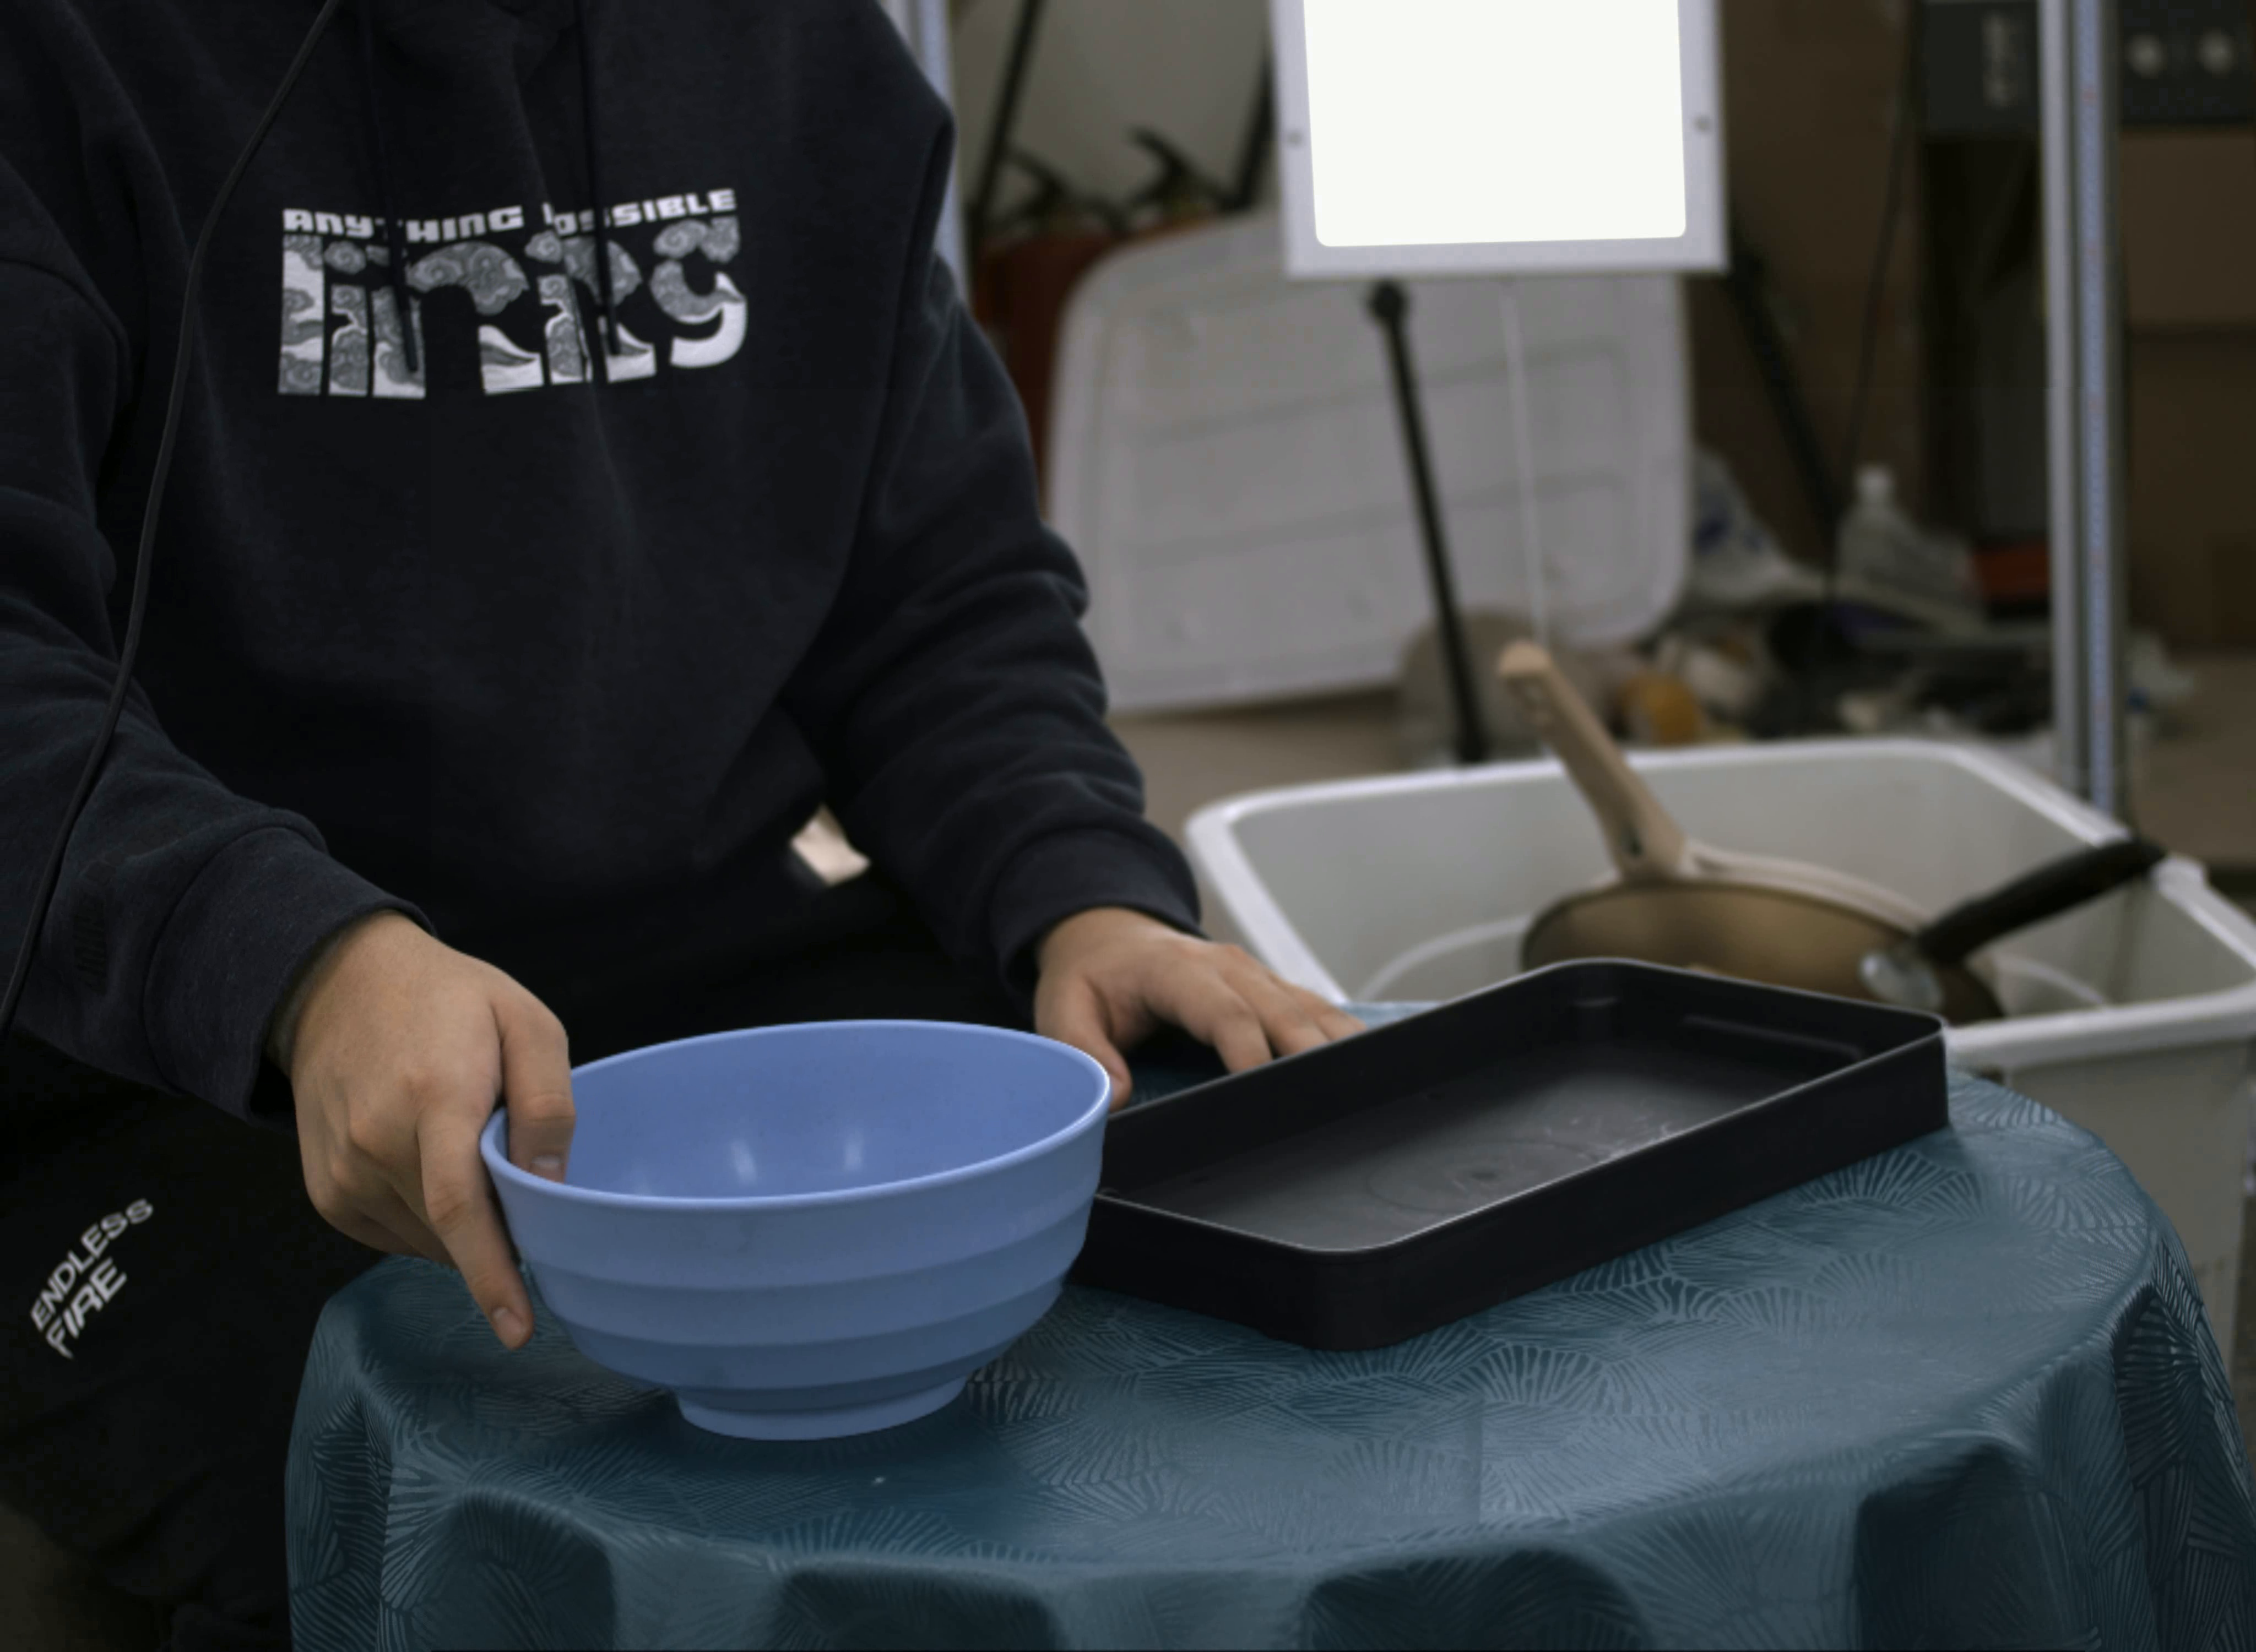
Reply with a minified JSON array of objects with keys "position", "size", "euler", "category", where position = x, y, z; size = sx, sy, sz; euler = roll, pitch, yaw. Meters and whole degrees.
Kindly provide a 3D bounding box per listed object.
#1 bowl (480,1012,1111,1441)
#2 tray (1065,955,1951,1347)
[{"position":[-0.099,0.130,1.712],"size":[0.196,0.096,0.196],"euler":[-6,15,0],"category":"bowl"},{"position":[0.120,0.105,1.865],"size":[0.310,0.037,0.188],"euler":[-16,17,-40],"category":"tray"}]
